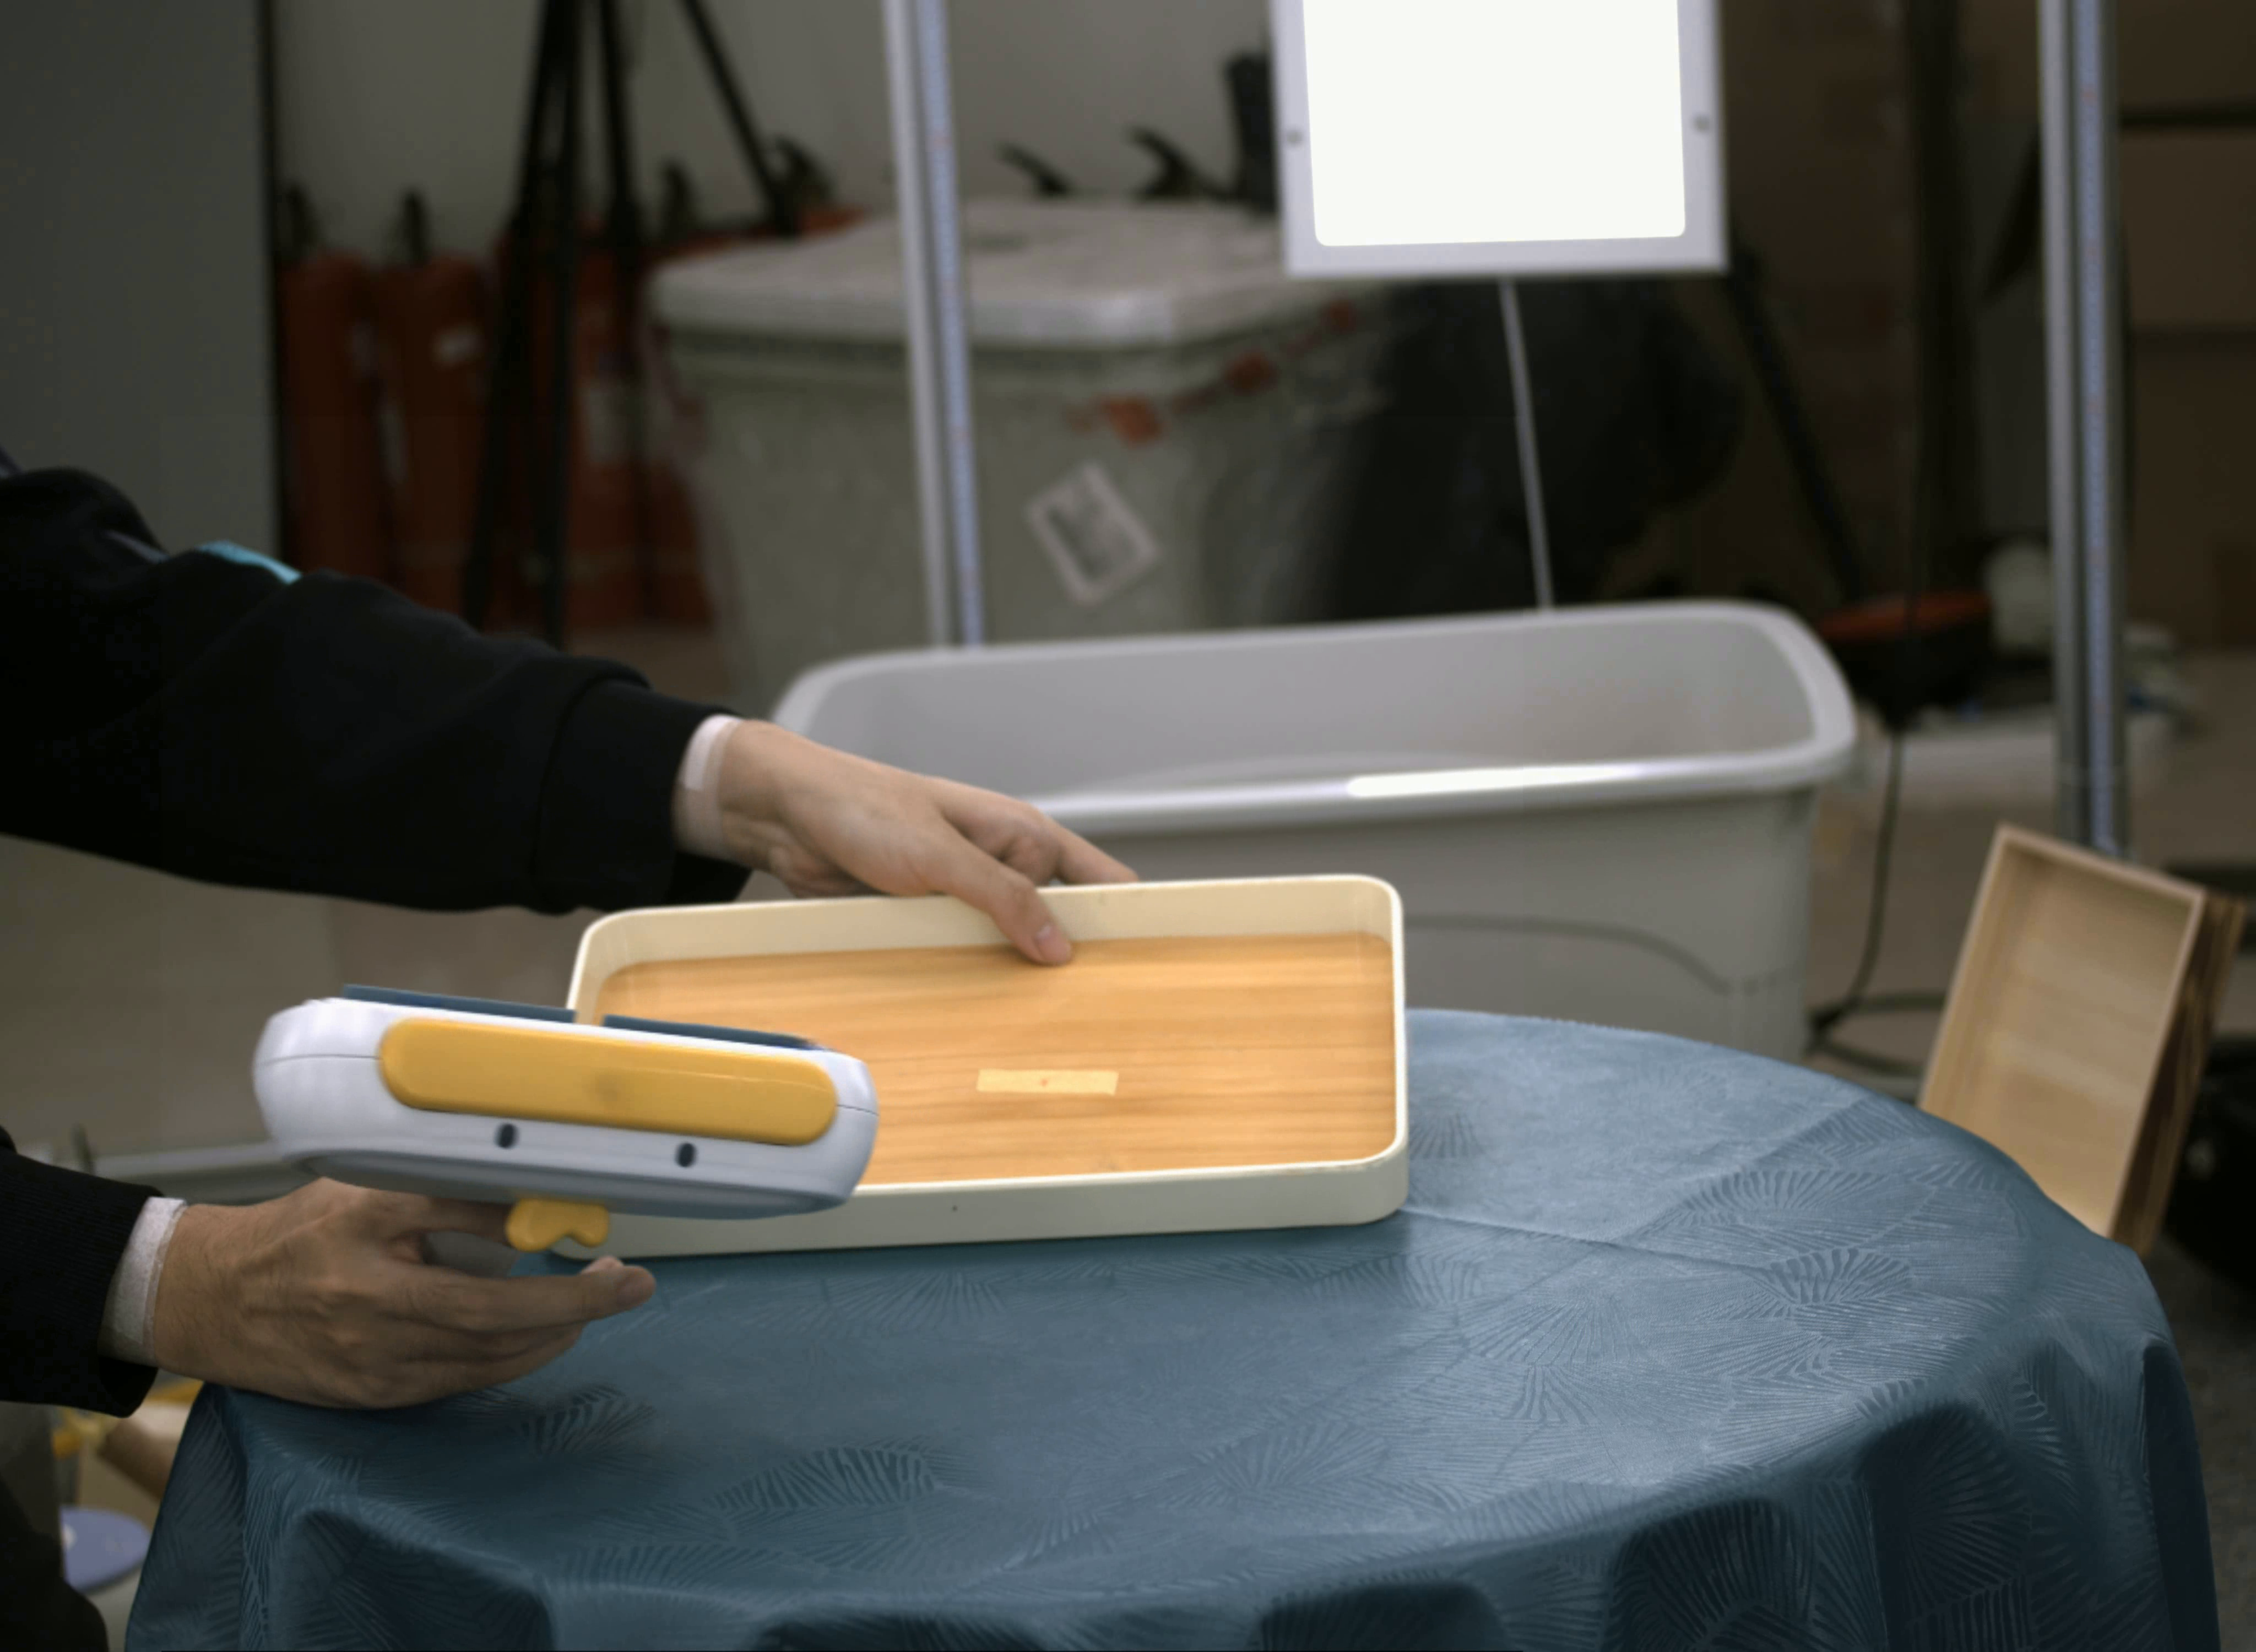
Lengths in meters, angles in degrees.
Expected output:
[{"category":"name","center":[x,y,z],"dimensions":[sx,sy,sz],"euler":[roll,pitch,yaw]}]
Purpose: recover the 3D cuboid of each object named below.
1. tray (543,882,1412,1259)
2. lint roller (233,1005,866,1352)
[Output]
[{"category":"tray","center":[-0.050,0.084,1.927],"dimensions":[0.301,0.027,0.190],"euler":[-3,29,7]},{"category":"lint roller","center":[-0.195,0.112,1.706],"dimensions":[0.189,0.074,0.196],"euler":[1,-19,-24]}]
